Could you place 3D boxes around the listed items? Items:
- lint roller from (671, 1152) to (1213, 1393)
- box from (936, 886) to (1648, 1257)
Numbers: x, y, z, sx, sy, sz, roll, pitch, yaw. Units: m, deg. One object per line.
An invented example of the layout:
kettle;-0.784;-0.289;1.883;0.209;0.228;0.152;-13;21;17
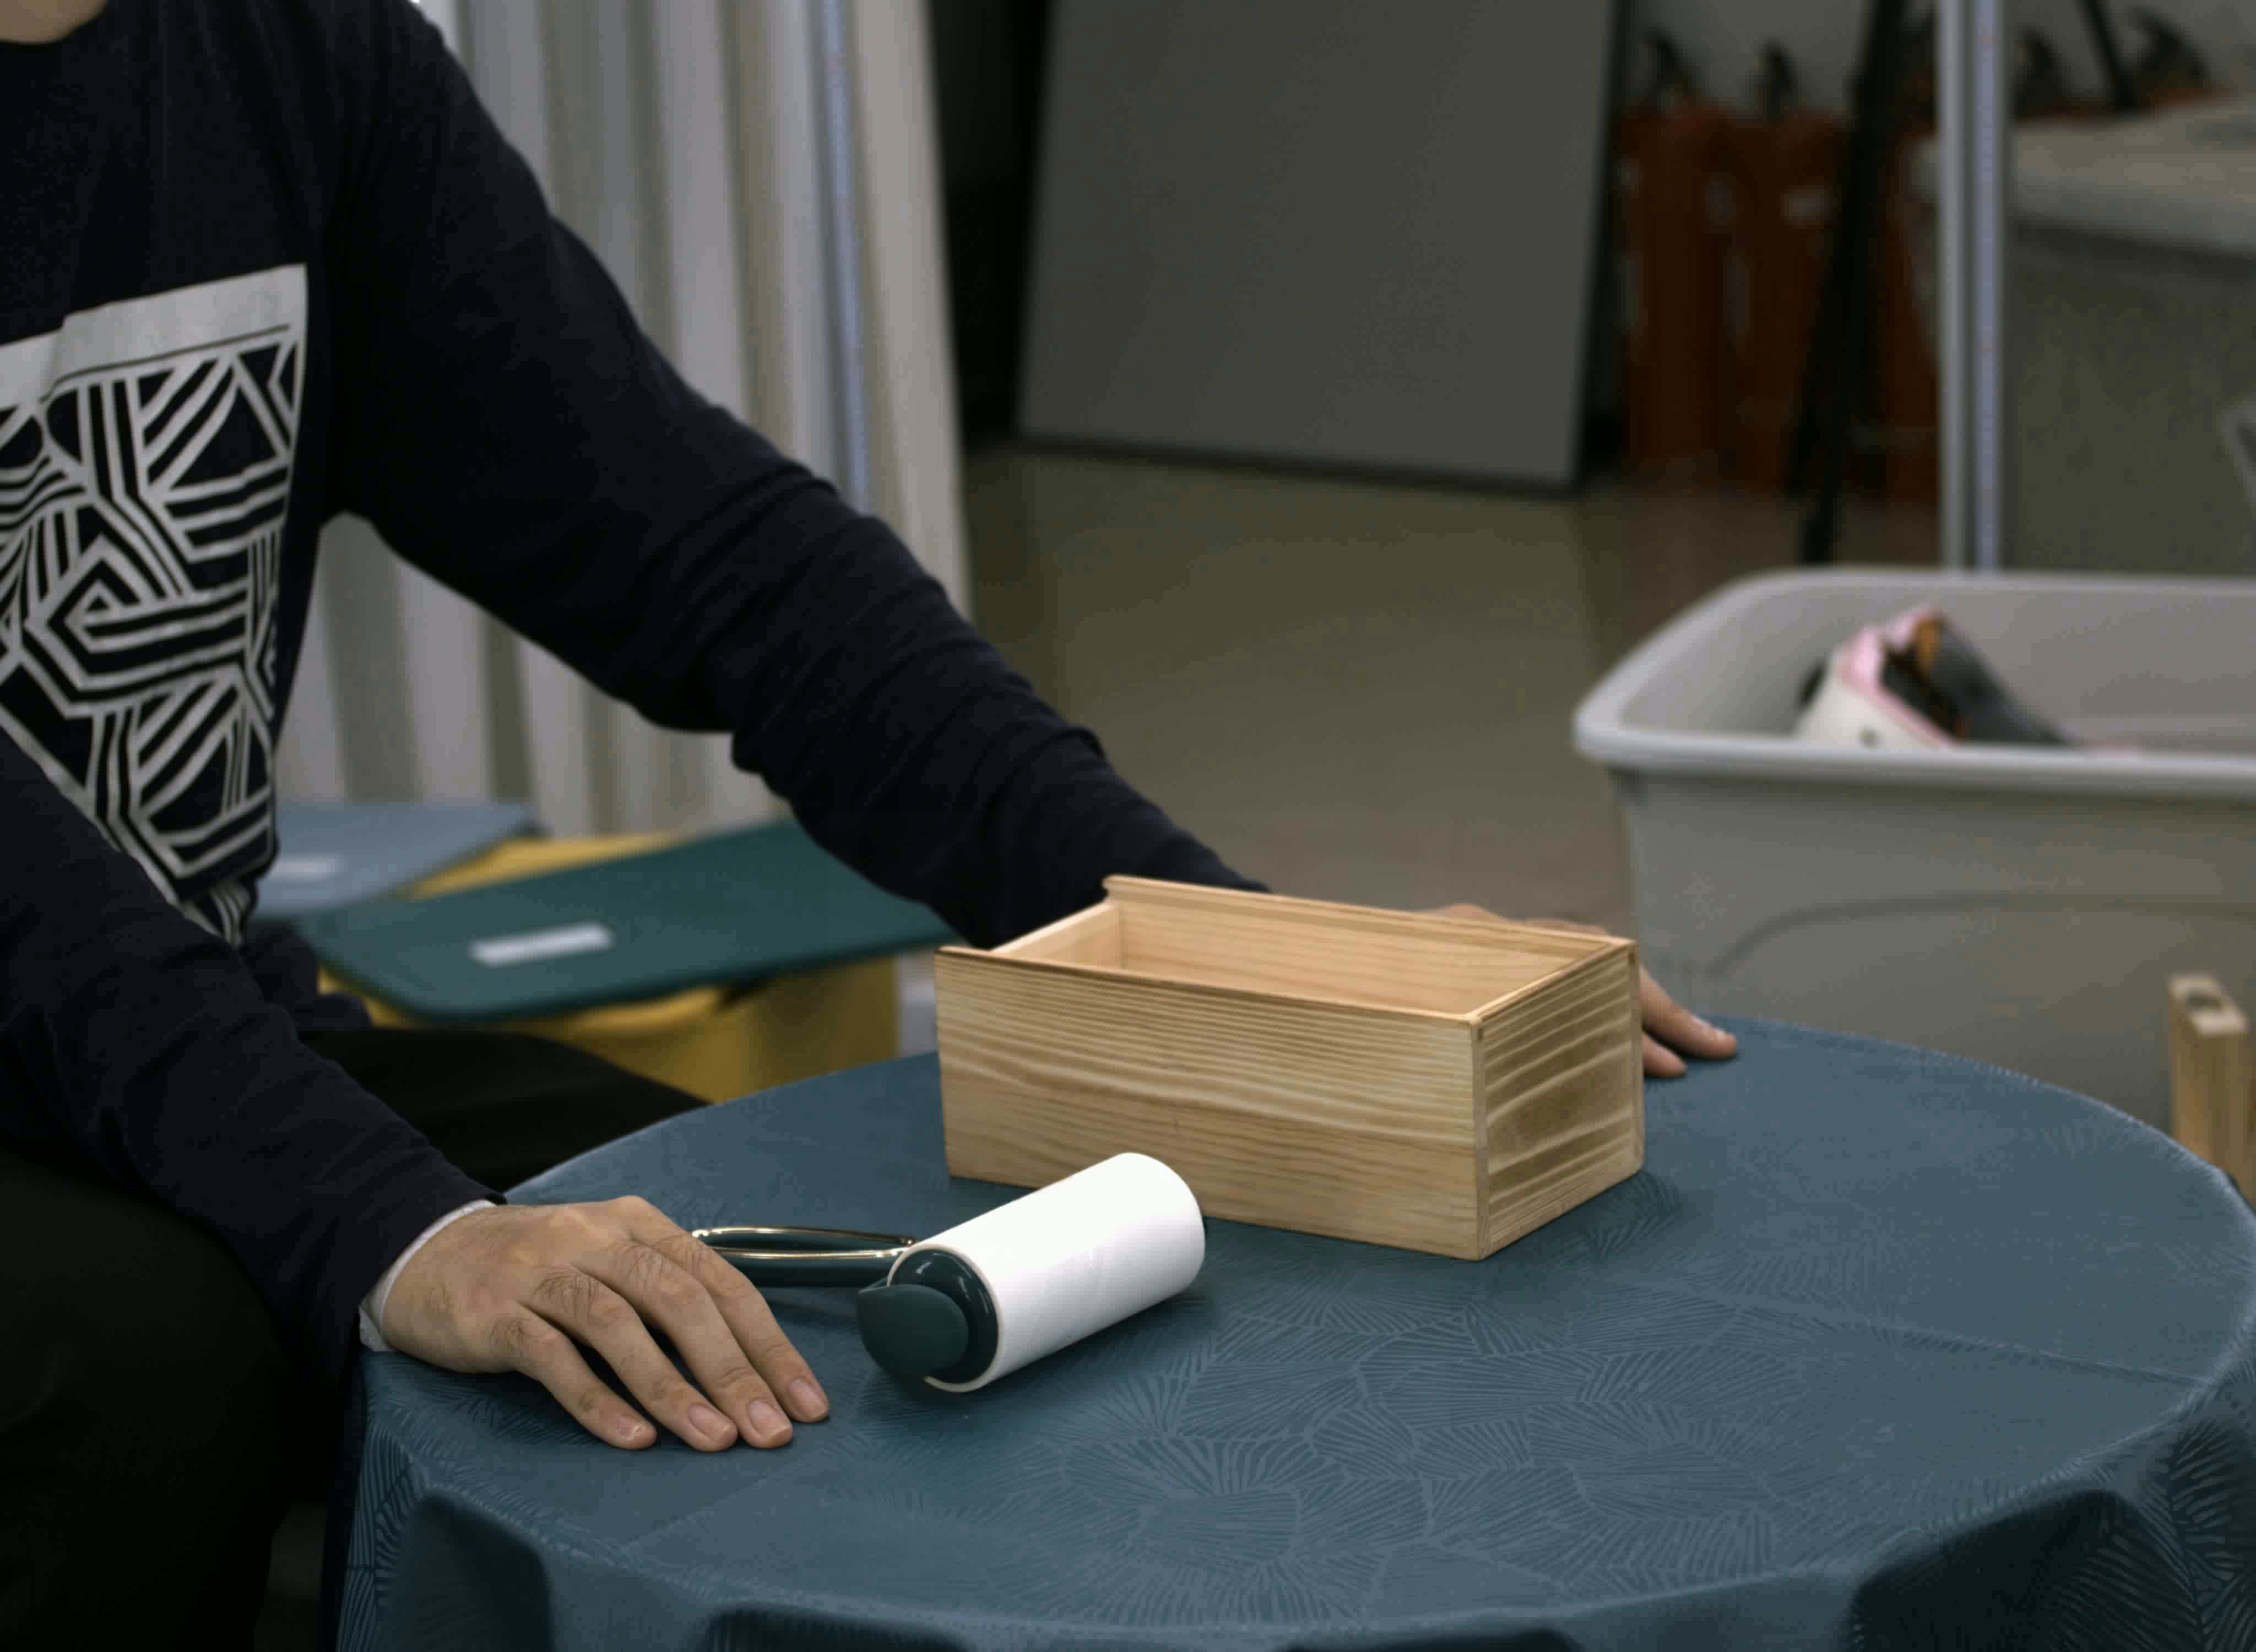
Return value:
lint roller;-0.076;0.133;1.670;0.181;0.049;0.132;1;14;40
box;0.054;0.078;1.770;0.213;0.081;0.105;4;16;36
